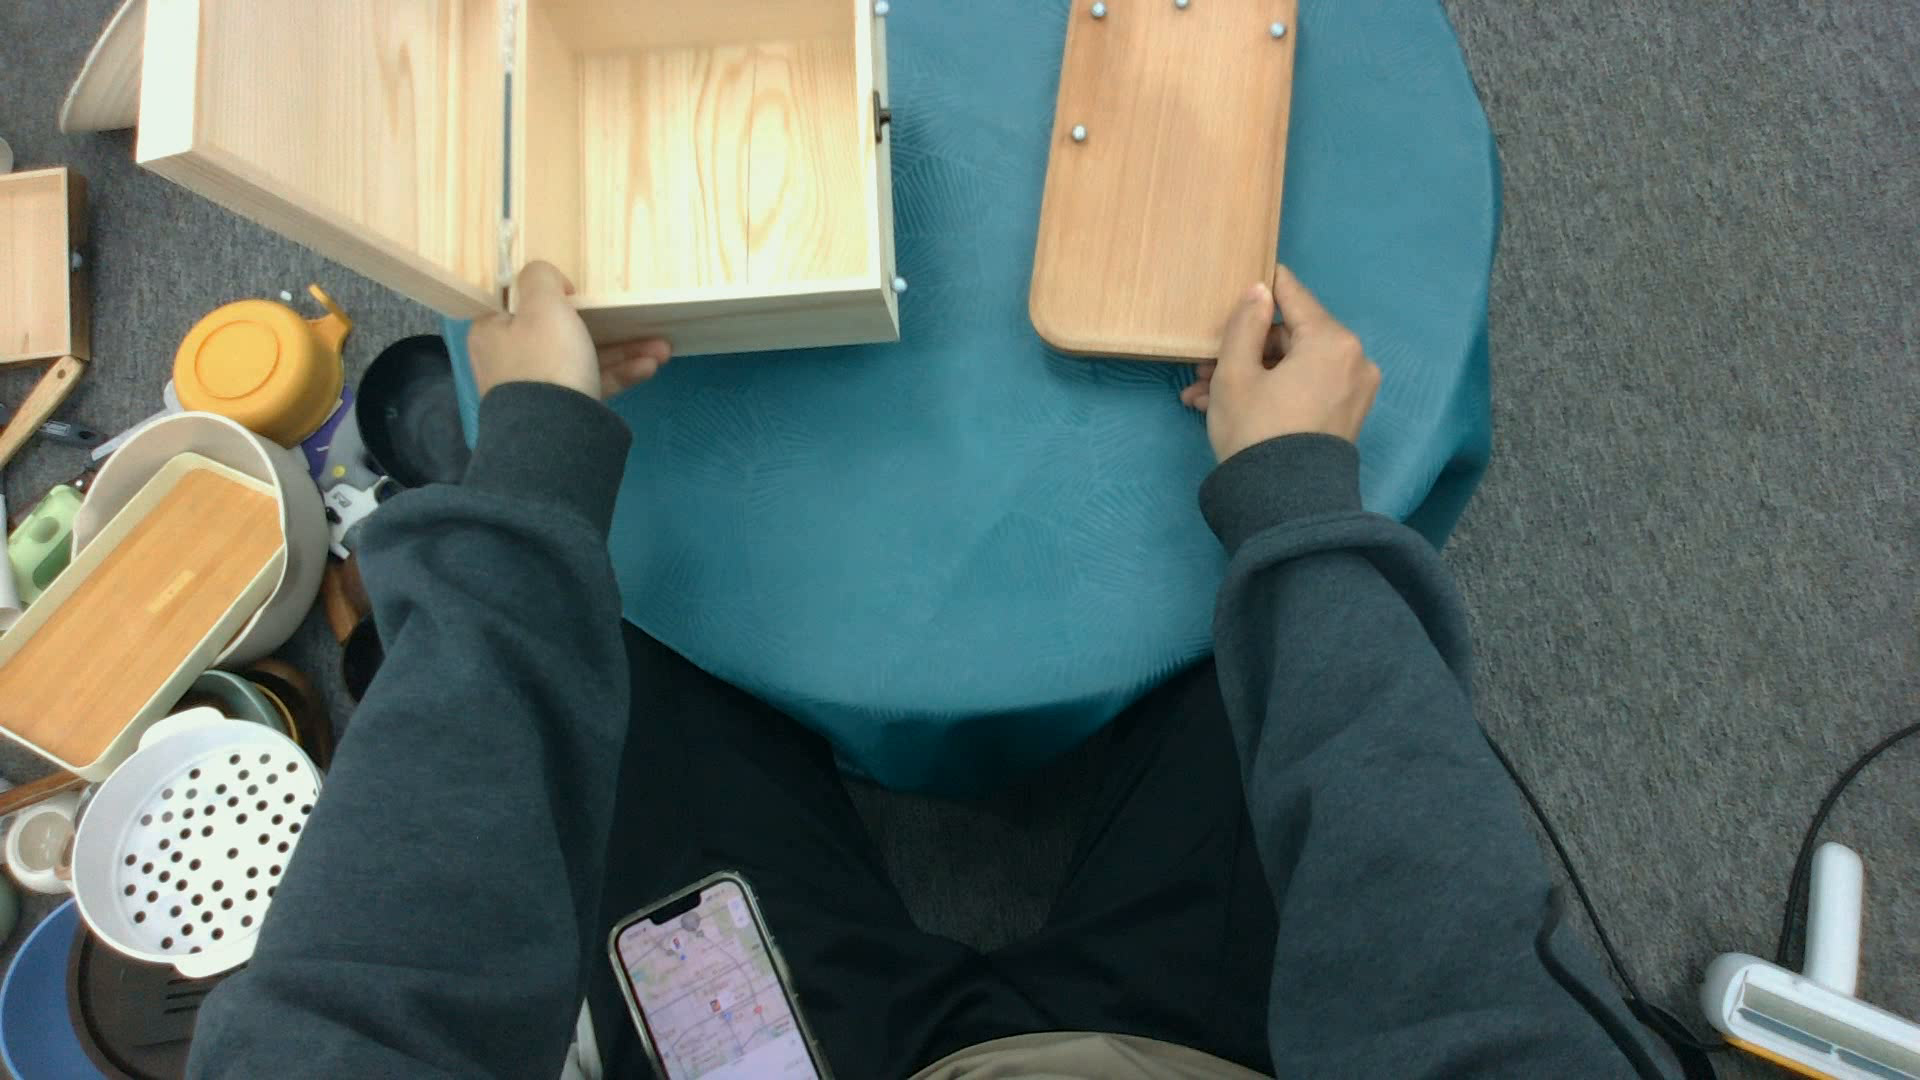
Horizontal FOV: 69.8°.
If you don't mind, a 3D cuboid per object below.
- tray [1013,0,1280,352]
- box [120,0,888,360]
[{"bbox_3d":[0.105,-0.217,0.757,0.130,0.023,0.251,5,72,12],"label":"tray"},{"bbox_3d":[-0.177,-0.209,0.635,0.265,0.253,0.182,-5,80,4],"label":"box"}]
